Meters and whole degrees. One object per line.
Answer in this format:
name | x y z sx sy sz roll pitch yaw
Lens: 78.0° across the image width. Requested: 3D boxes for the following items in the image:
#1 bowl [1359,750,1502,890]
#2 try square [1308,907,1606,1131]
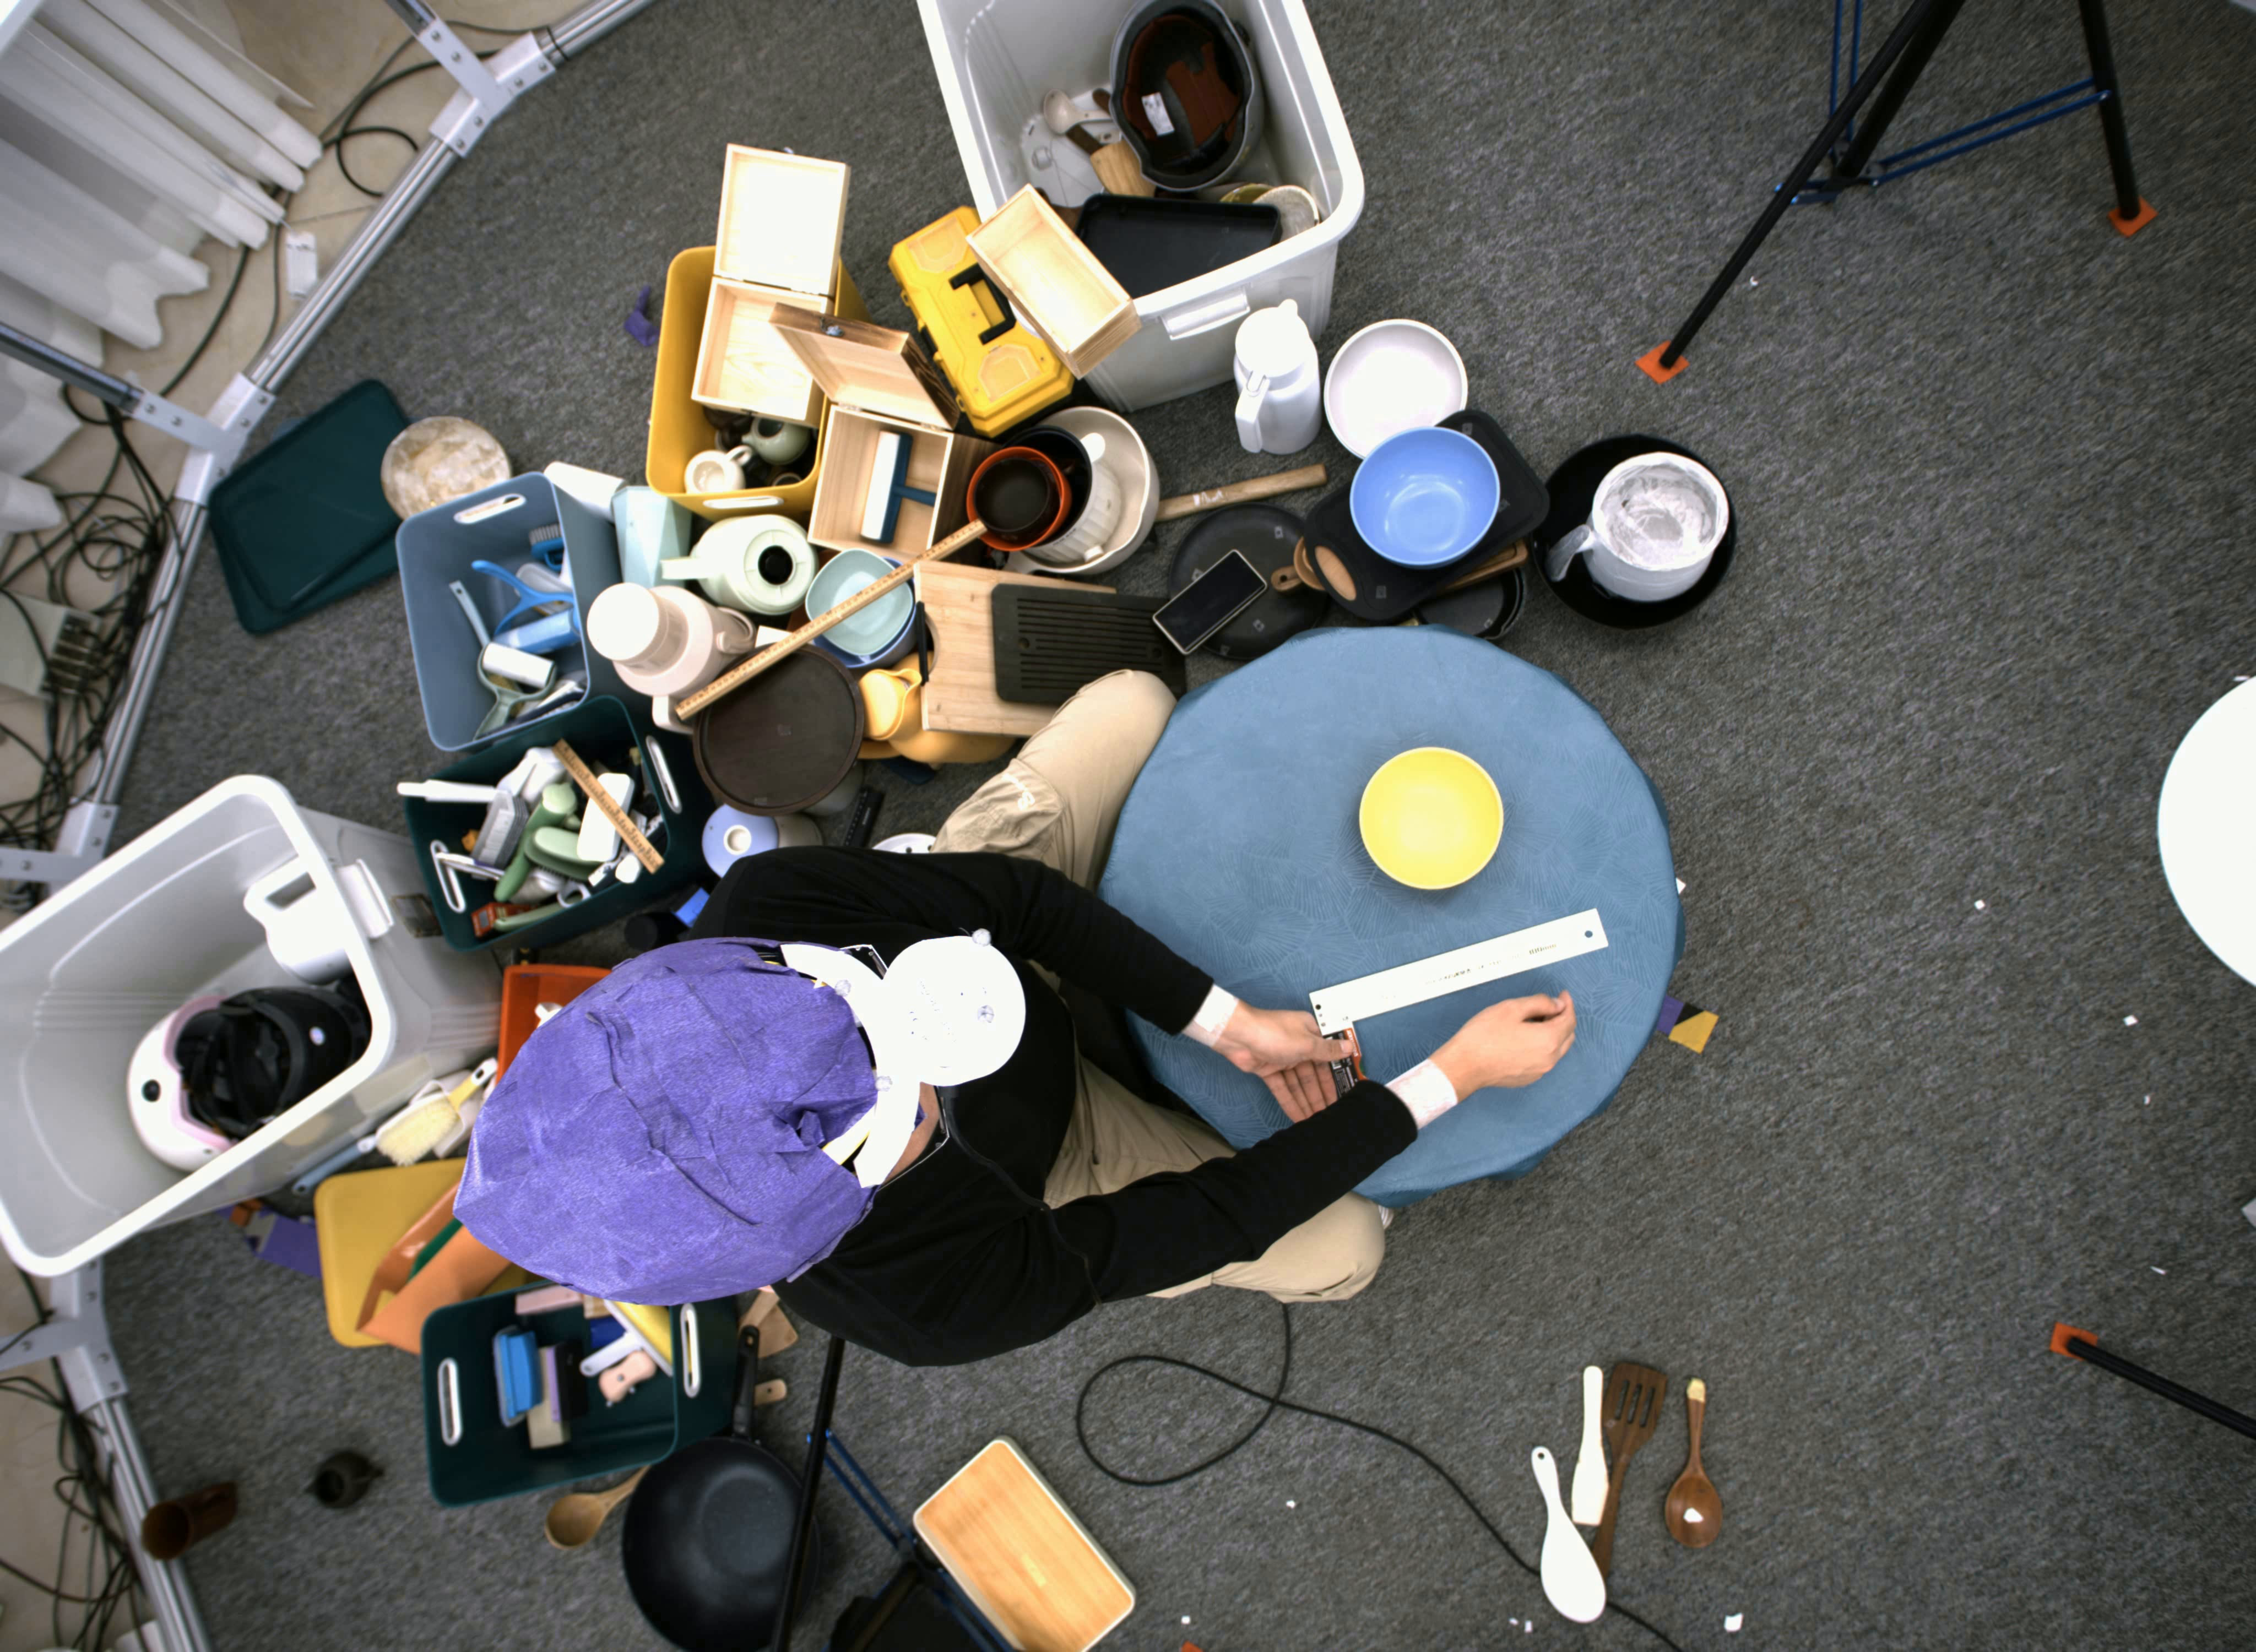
bowl | 0.313 -0.005 1.428 0.146 0.060 0.144 -1 85 13
try square | 0.356 0.200 1.435 0.314 0.016 0.151 -18 86 8
